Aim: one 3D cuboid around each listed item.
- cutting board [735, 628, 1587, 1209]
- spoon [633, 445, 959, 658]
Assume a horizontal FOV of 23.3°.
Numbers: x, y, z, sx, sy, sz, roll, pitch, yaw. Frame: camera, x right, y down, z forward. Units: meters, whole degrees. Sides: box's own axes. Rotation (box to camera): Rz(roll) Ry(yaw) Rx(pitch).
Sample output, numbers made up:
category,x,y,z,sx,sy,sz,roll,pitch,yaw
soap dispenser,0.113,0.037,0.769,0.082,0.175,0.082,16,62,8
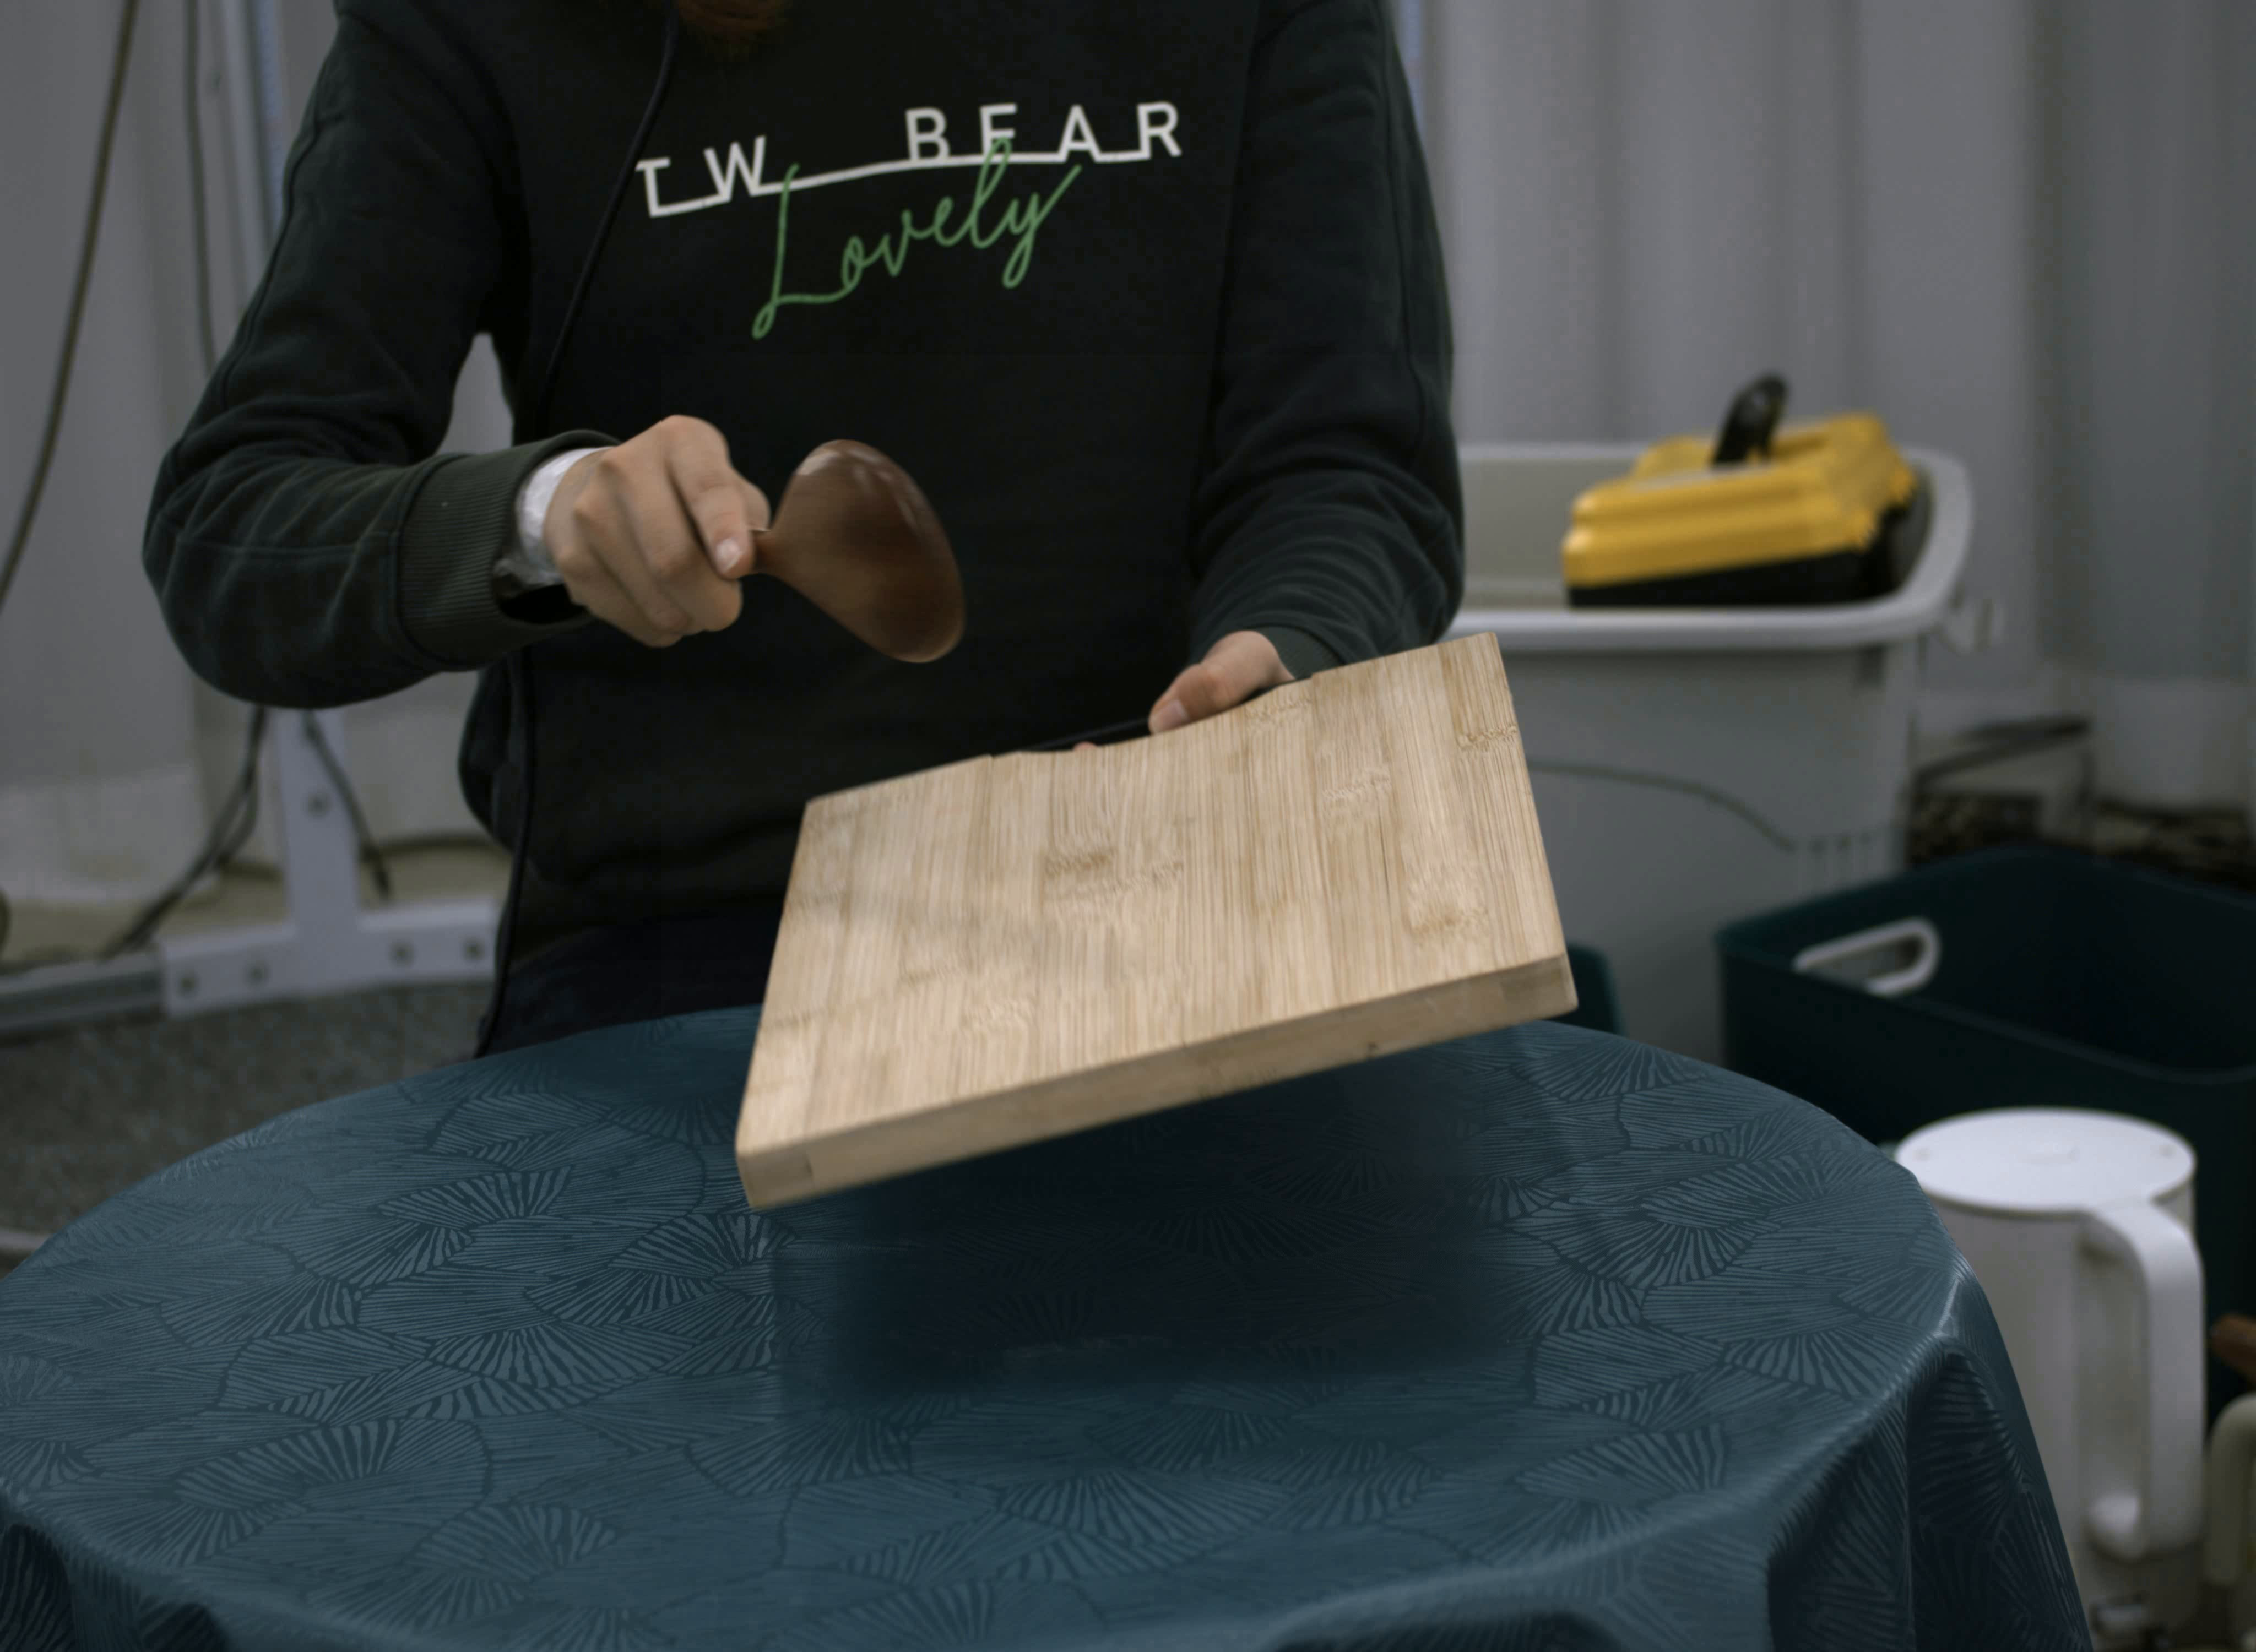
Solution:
category,x,y,z,sx,sy,sz,roll,pitch,yaw
cutting board,0.010,0.022,1.685,0.250,0.023,0.351,-14,17,4
spoon,-0.111,-0.085,1.726,0.017,0.075,0.216,-33,16,-21
